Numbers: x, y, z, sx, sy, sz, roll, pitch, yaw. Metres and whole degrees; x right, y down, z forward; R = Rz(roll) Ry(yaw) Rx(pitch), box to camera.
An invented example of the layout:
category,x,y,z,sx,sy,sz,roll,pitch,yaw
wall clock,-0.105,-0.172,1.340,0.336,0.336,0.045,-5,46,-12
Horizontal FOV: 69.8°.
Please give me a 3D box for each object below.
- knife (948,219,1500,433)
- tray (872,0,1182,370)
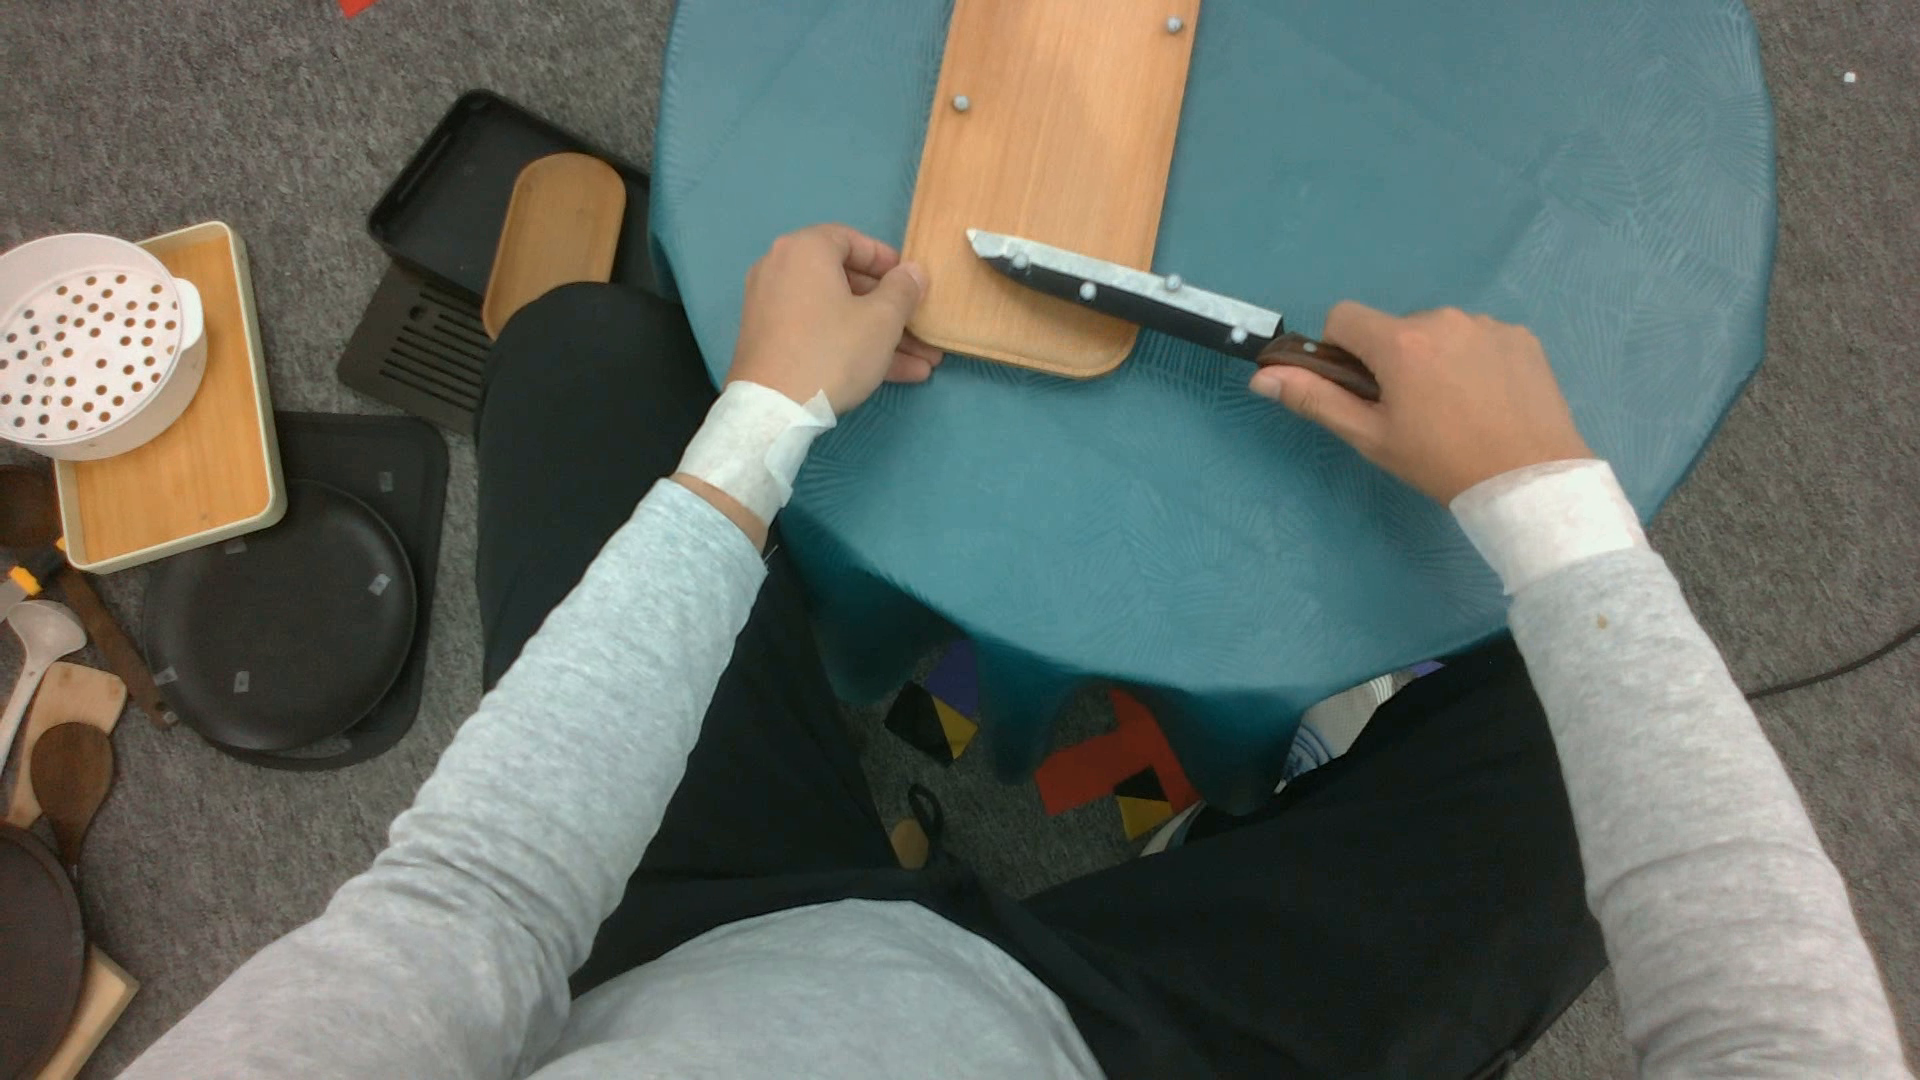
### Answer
category,x,y,z,sx,sy,sz,roll,pitch,yaw
knife,0.125,-0.111,0.684,0.289,0.020,0.050,22,45,10
tray,0.038,-0.214,0.725,0.130,0.023,0.251,12,79,1
